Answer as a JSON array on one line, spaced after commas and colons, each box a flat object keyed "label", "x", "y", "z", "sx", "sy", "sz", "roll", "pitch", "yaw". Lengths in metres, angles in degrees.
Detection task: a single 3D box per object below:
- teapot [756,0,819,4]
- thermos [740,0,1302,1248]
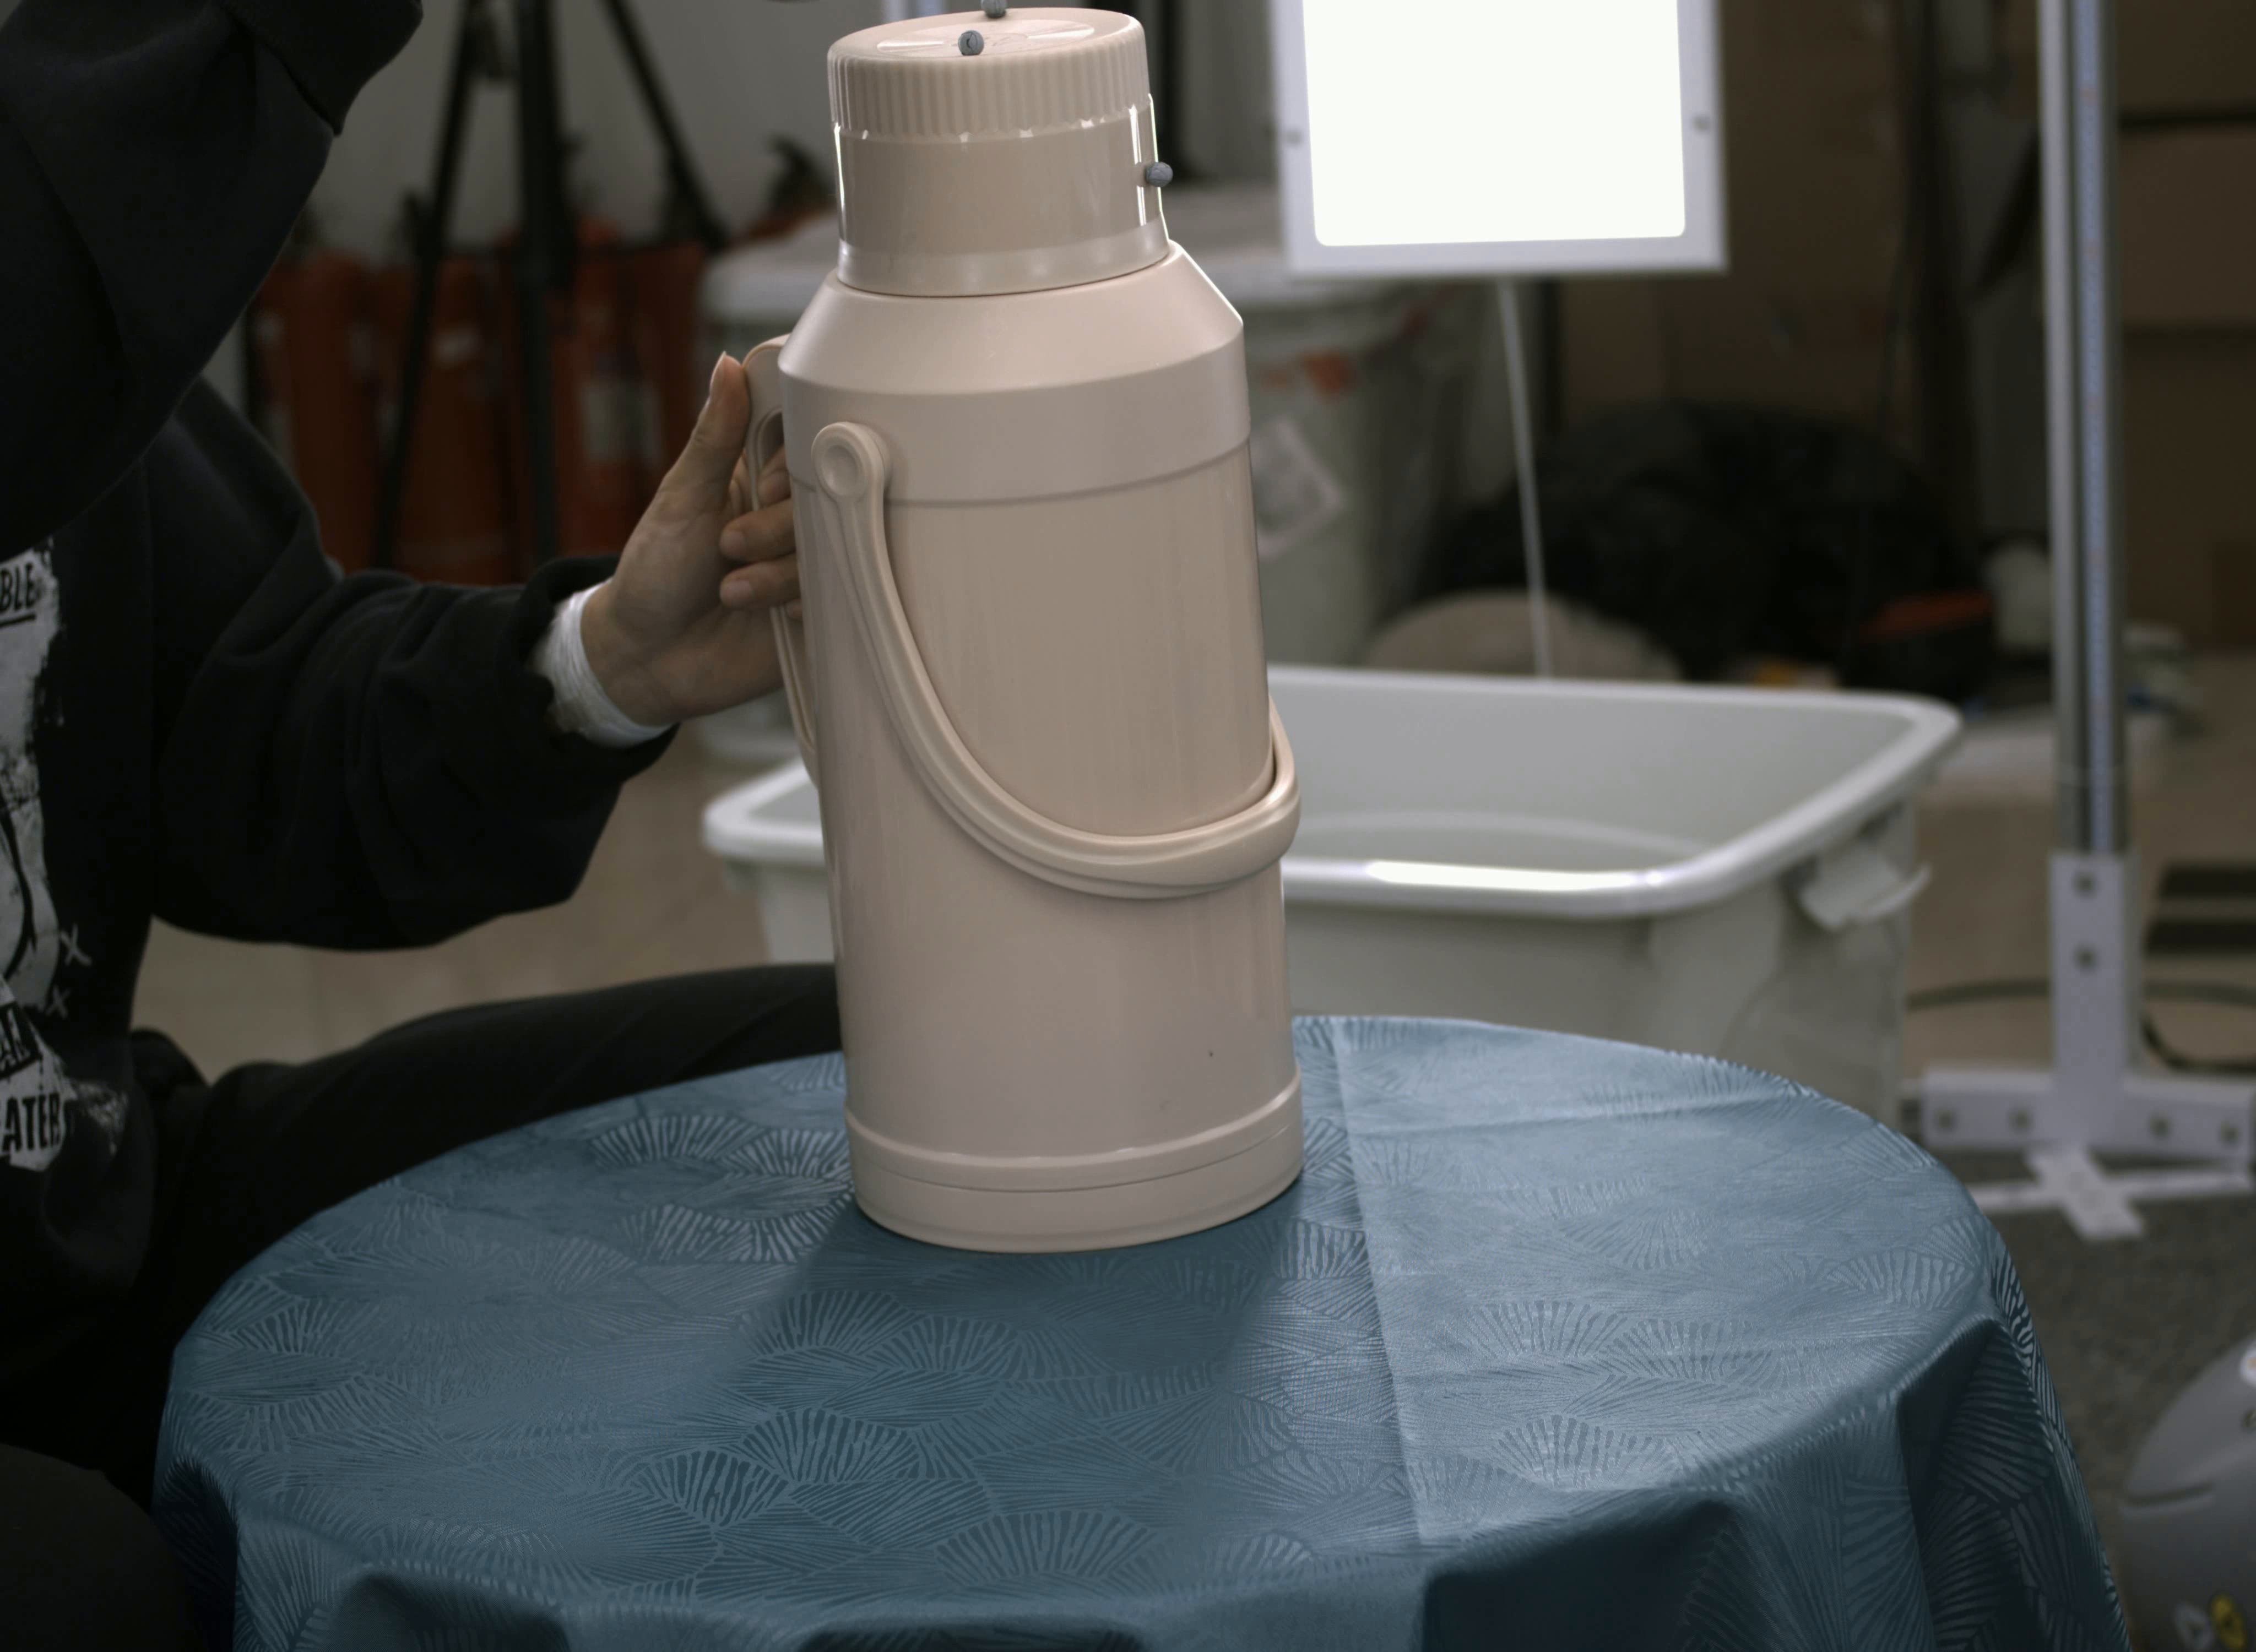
[{"label": "teapot", "x": -0.115, "y": -0.310, "z": 1.726, "sx": 0.094, "sy": 0.127, "sz": 0.058, "roll": 12, "pitch": 45, "yaw": 43}, {"label": "thermos", "x": -0.043, "y": -0.072, "z": 1.873, "sx": 0.211, "sy": 0.408, "sz": 0.171, "roll": 10, "pitch": 24, "yaw": 39}]
